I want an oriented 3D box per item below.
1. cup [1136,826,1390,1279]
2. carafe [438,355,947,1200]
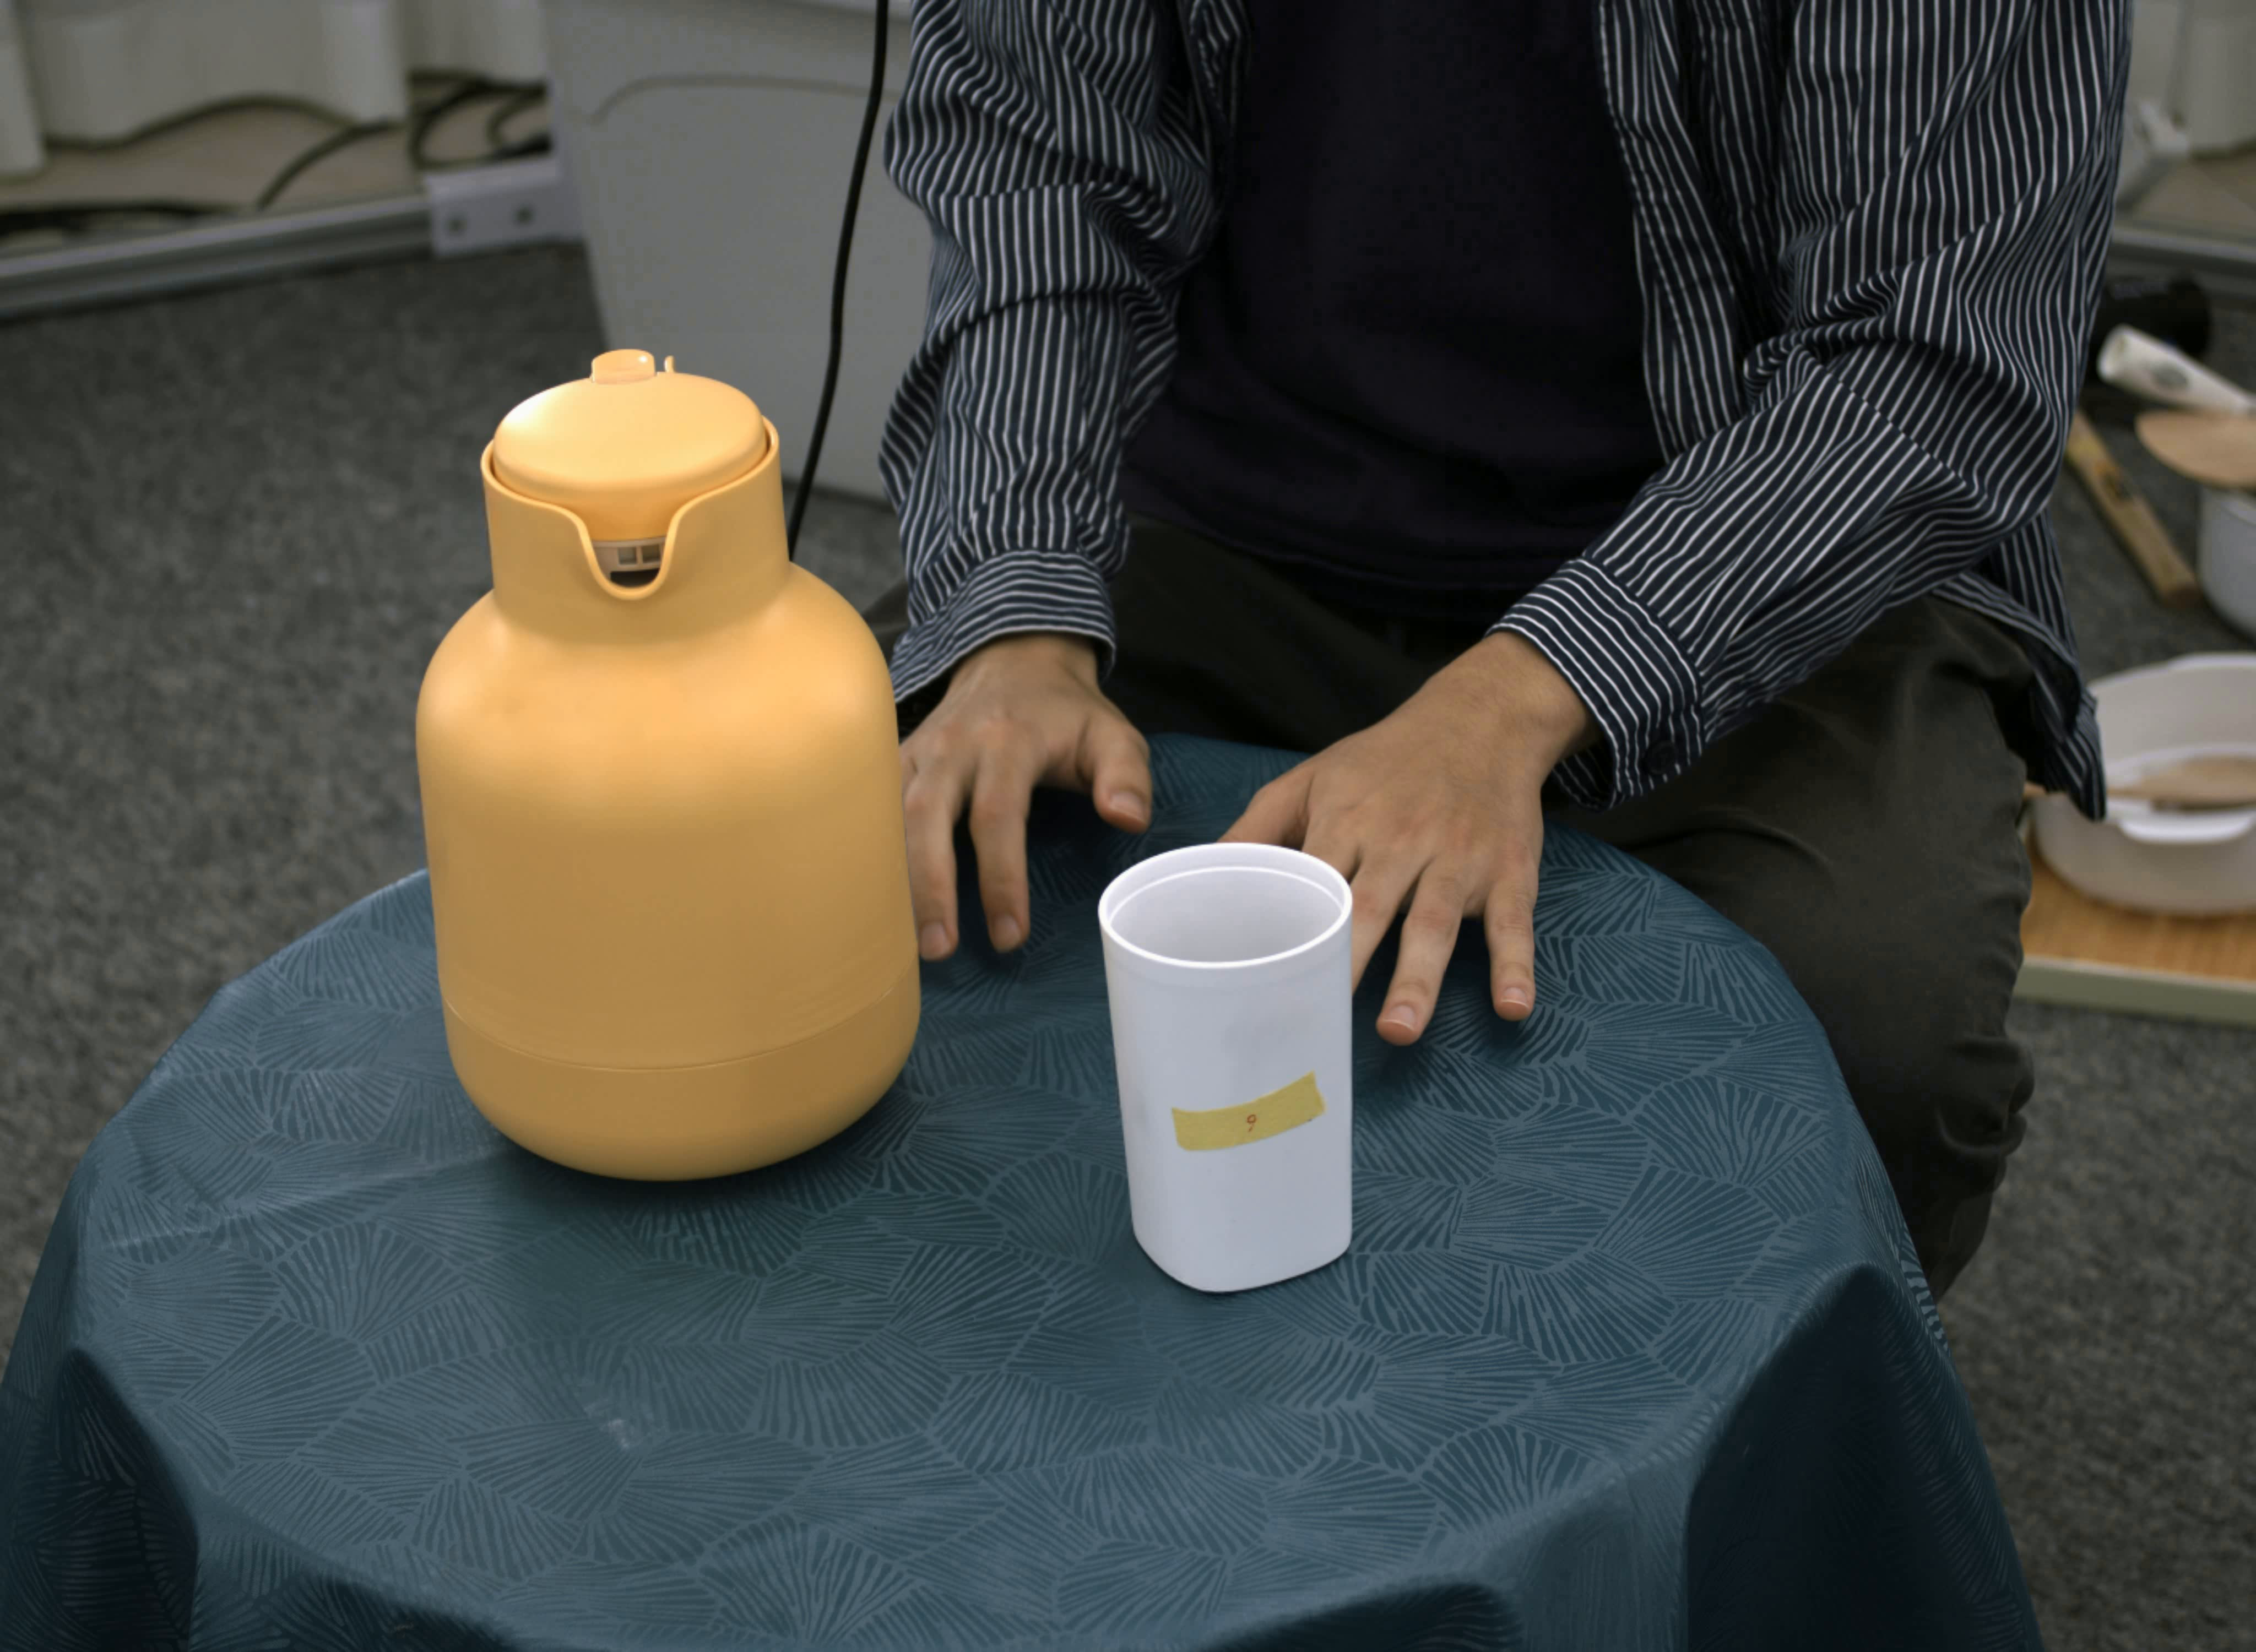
[{"bbox_3d":[0.046,0.074,1.803,0.081,0.124,0.083,-3,26,2],"label":"cup"},{"bbox_3d":[-0.147,-0.025,1.878,0.163,0.258,0.205,-4,26,-5],"label":"carafe"}]
